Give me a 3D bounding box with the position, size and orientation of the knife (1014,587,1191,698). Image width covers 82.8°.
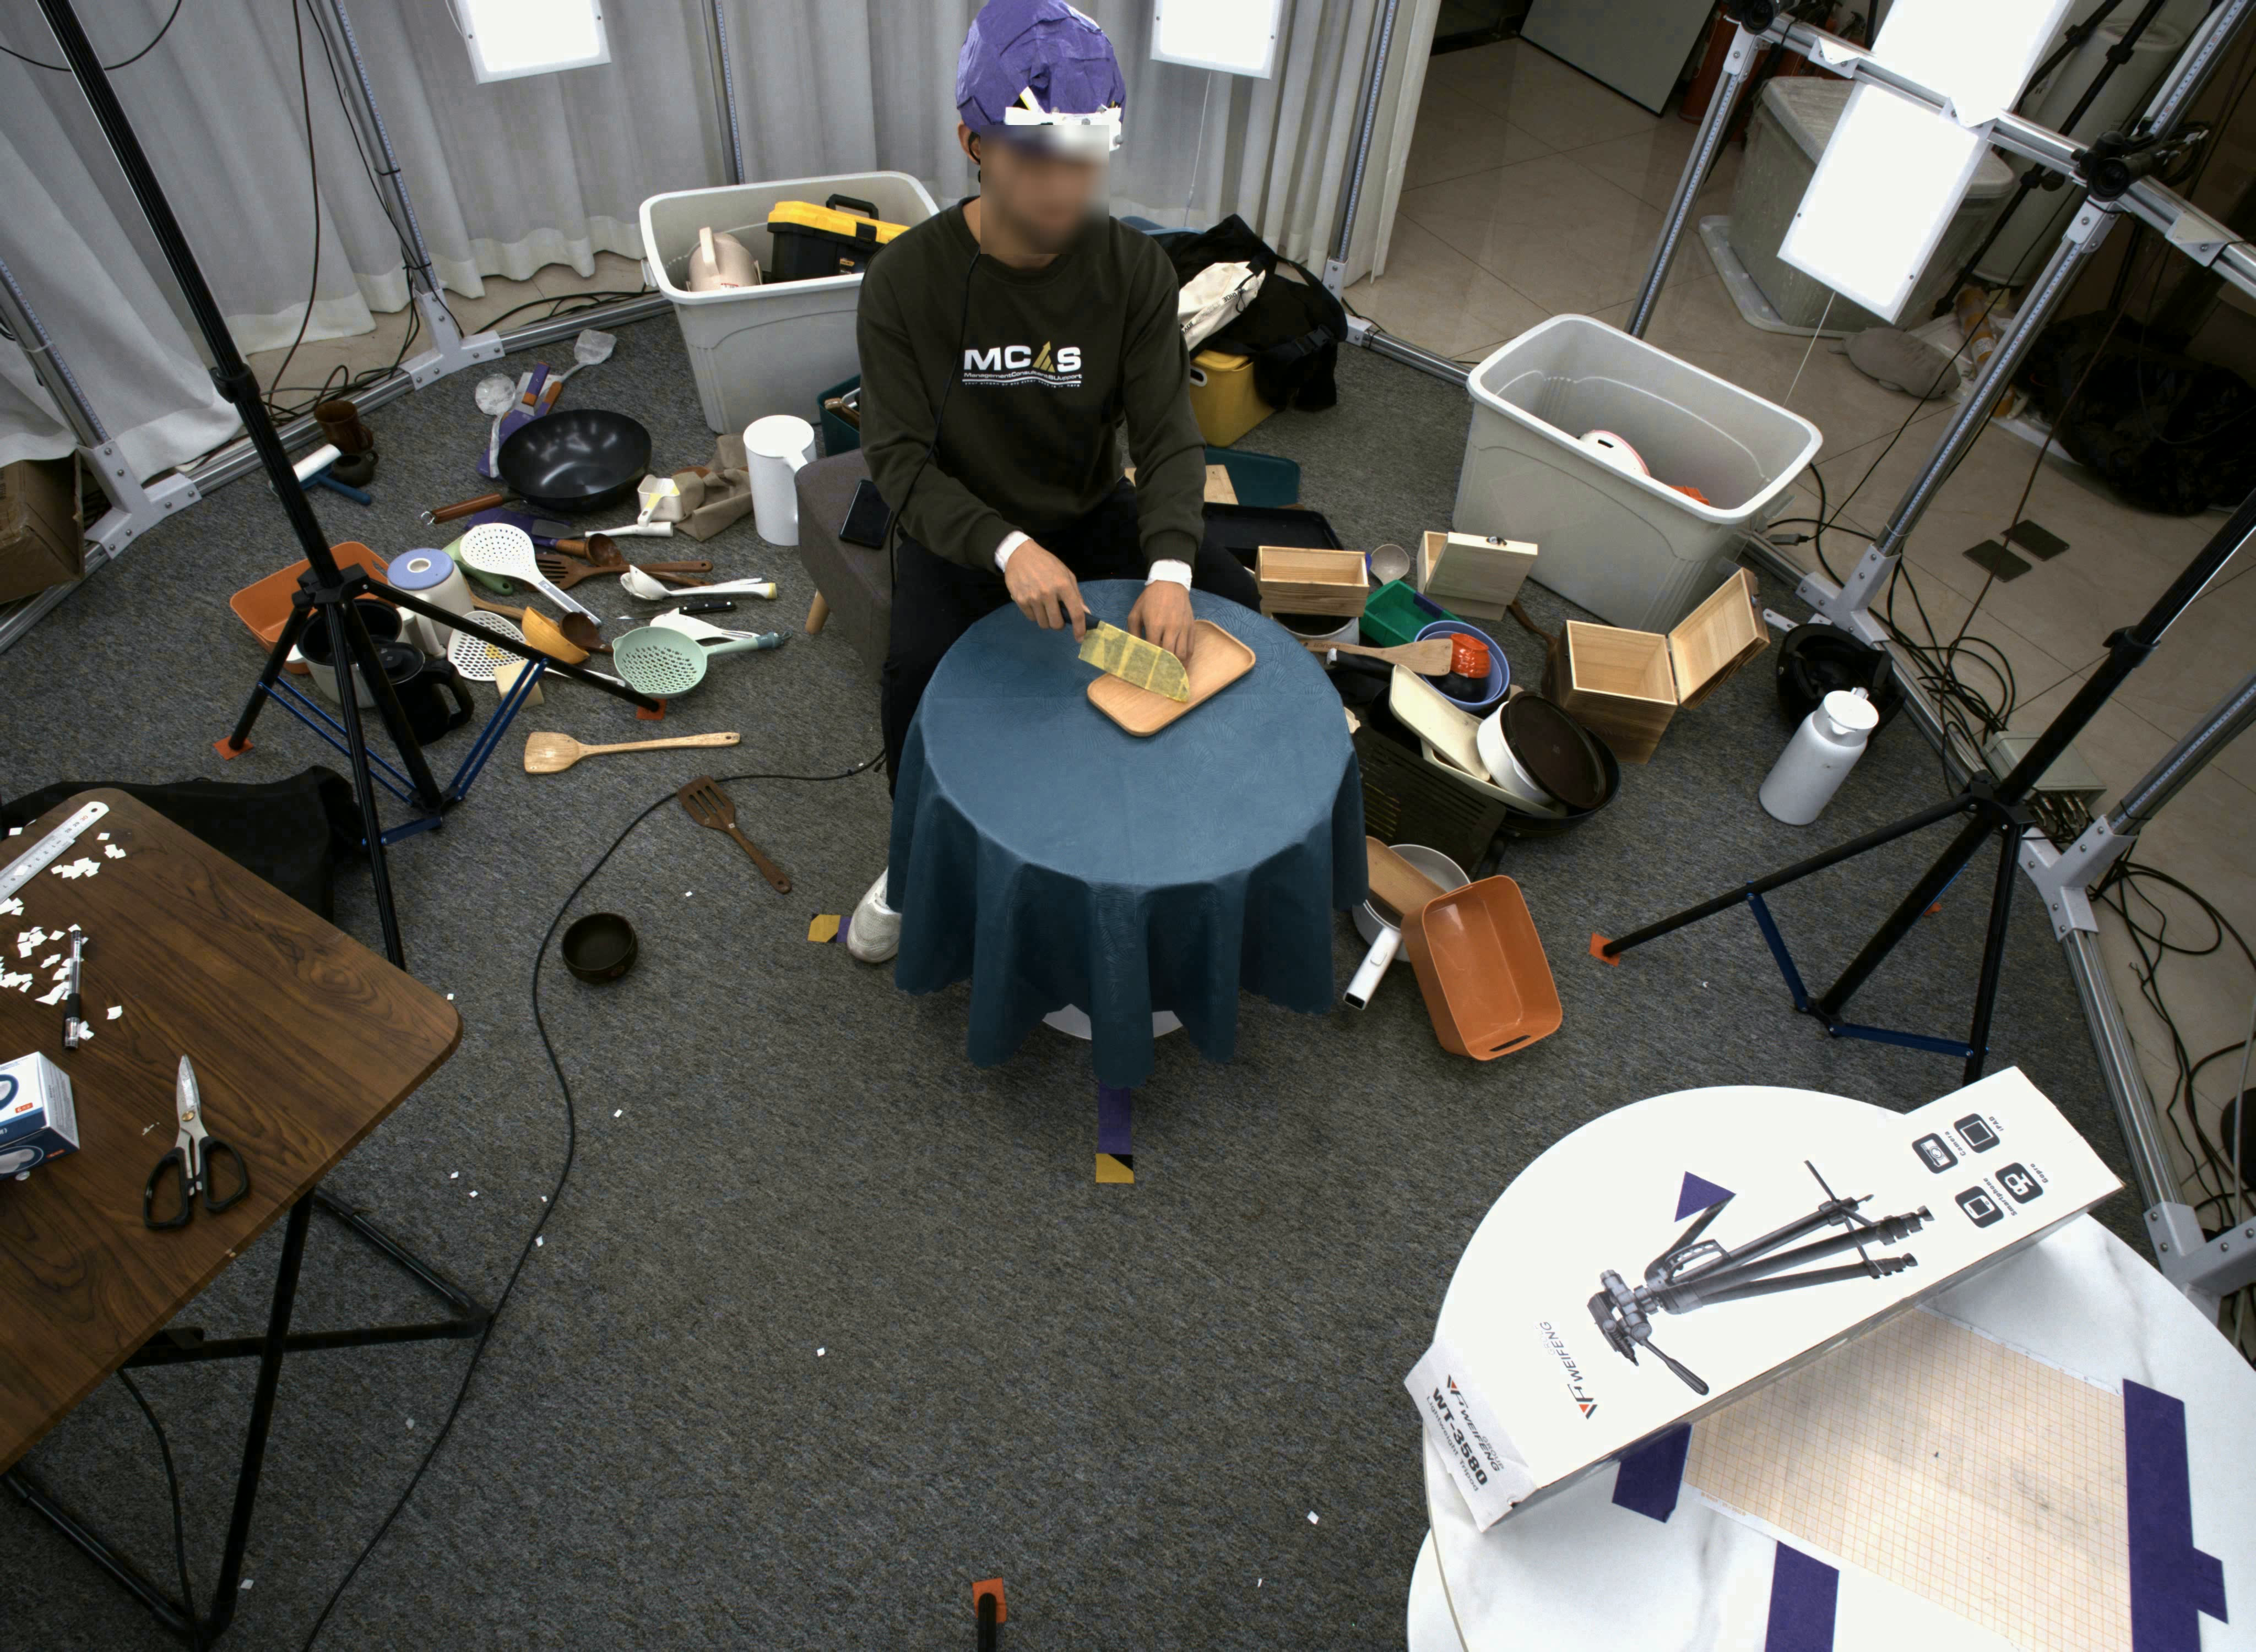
[{"bbox_3d":[-0.038,-0.260,1.819,0.291,0.079,0.027,29,37,9],"label":"knife"}]

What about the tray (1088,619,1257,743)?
[{"bbox_3d":[0.066,-0.211,1.850,0.253,0.022,0.132,-37,57,-26],"label":"tray"}]
